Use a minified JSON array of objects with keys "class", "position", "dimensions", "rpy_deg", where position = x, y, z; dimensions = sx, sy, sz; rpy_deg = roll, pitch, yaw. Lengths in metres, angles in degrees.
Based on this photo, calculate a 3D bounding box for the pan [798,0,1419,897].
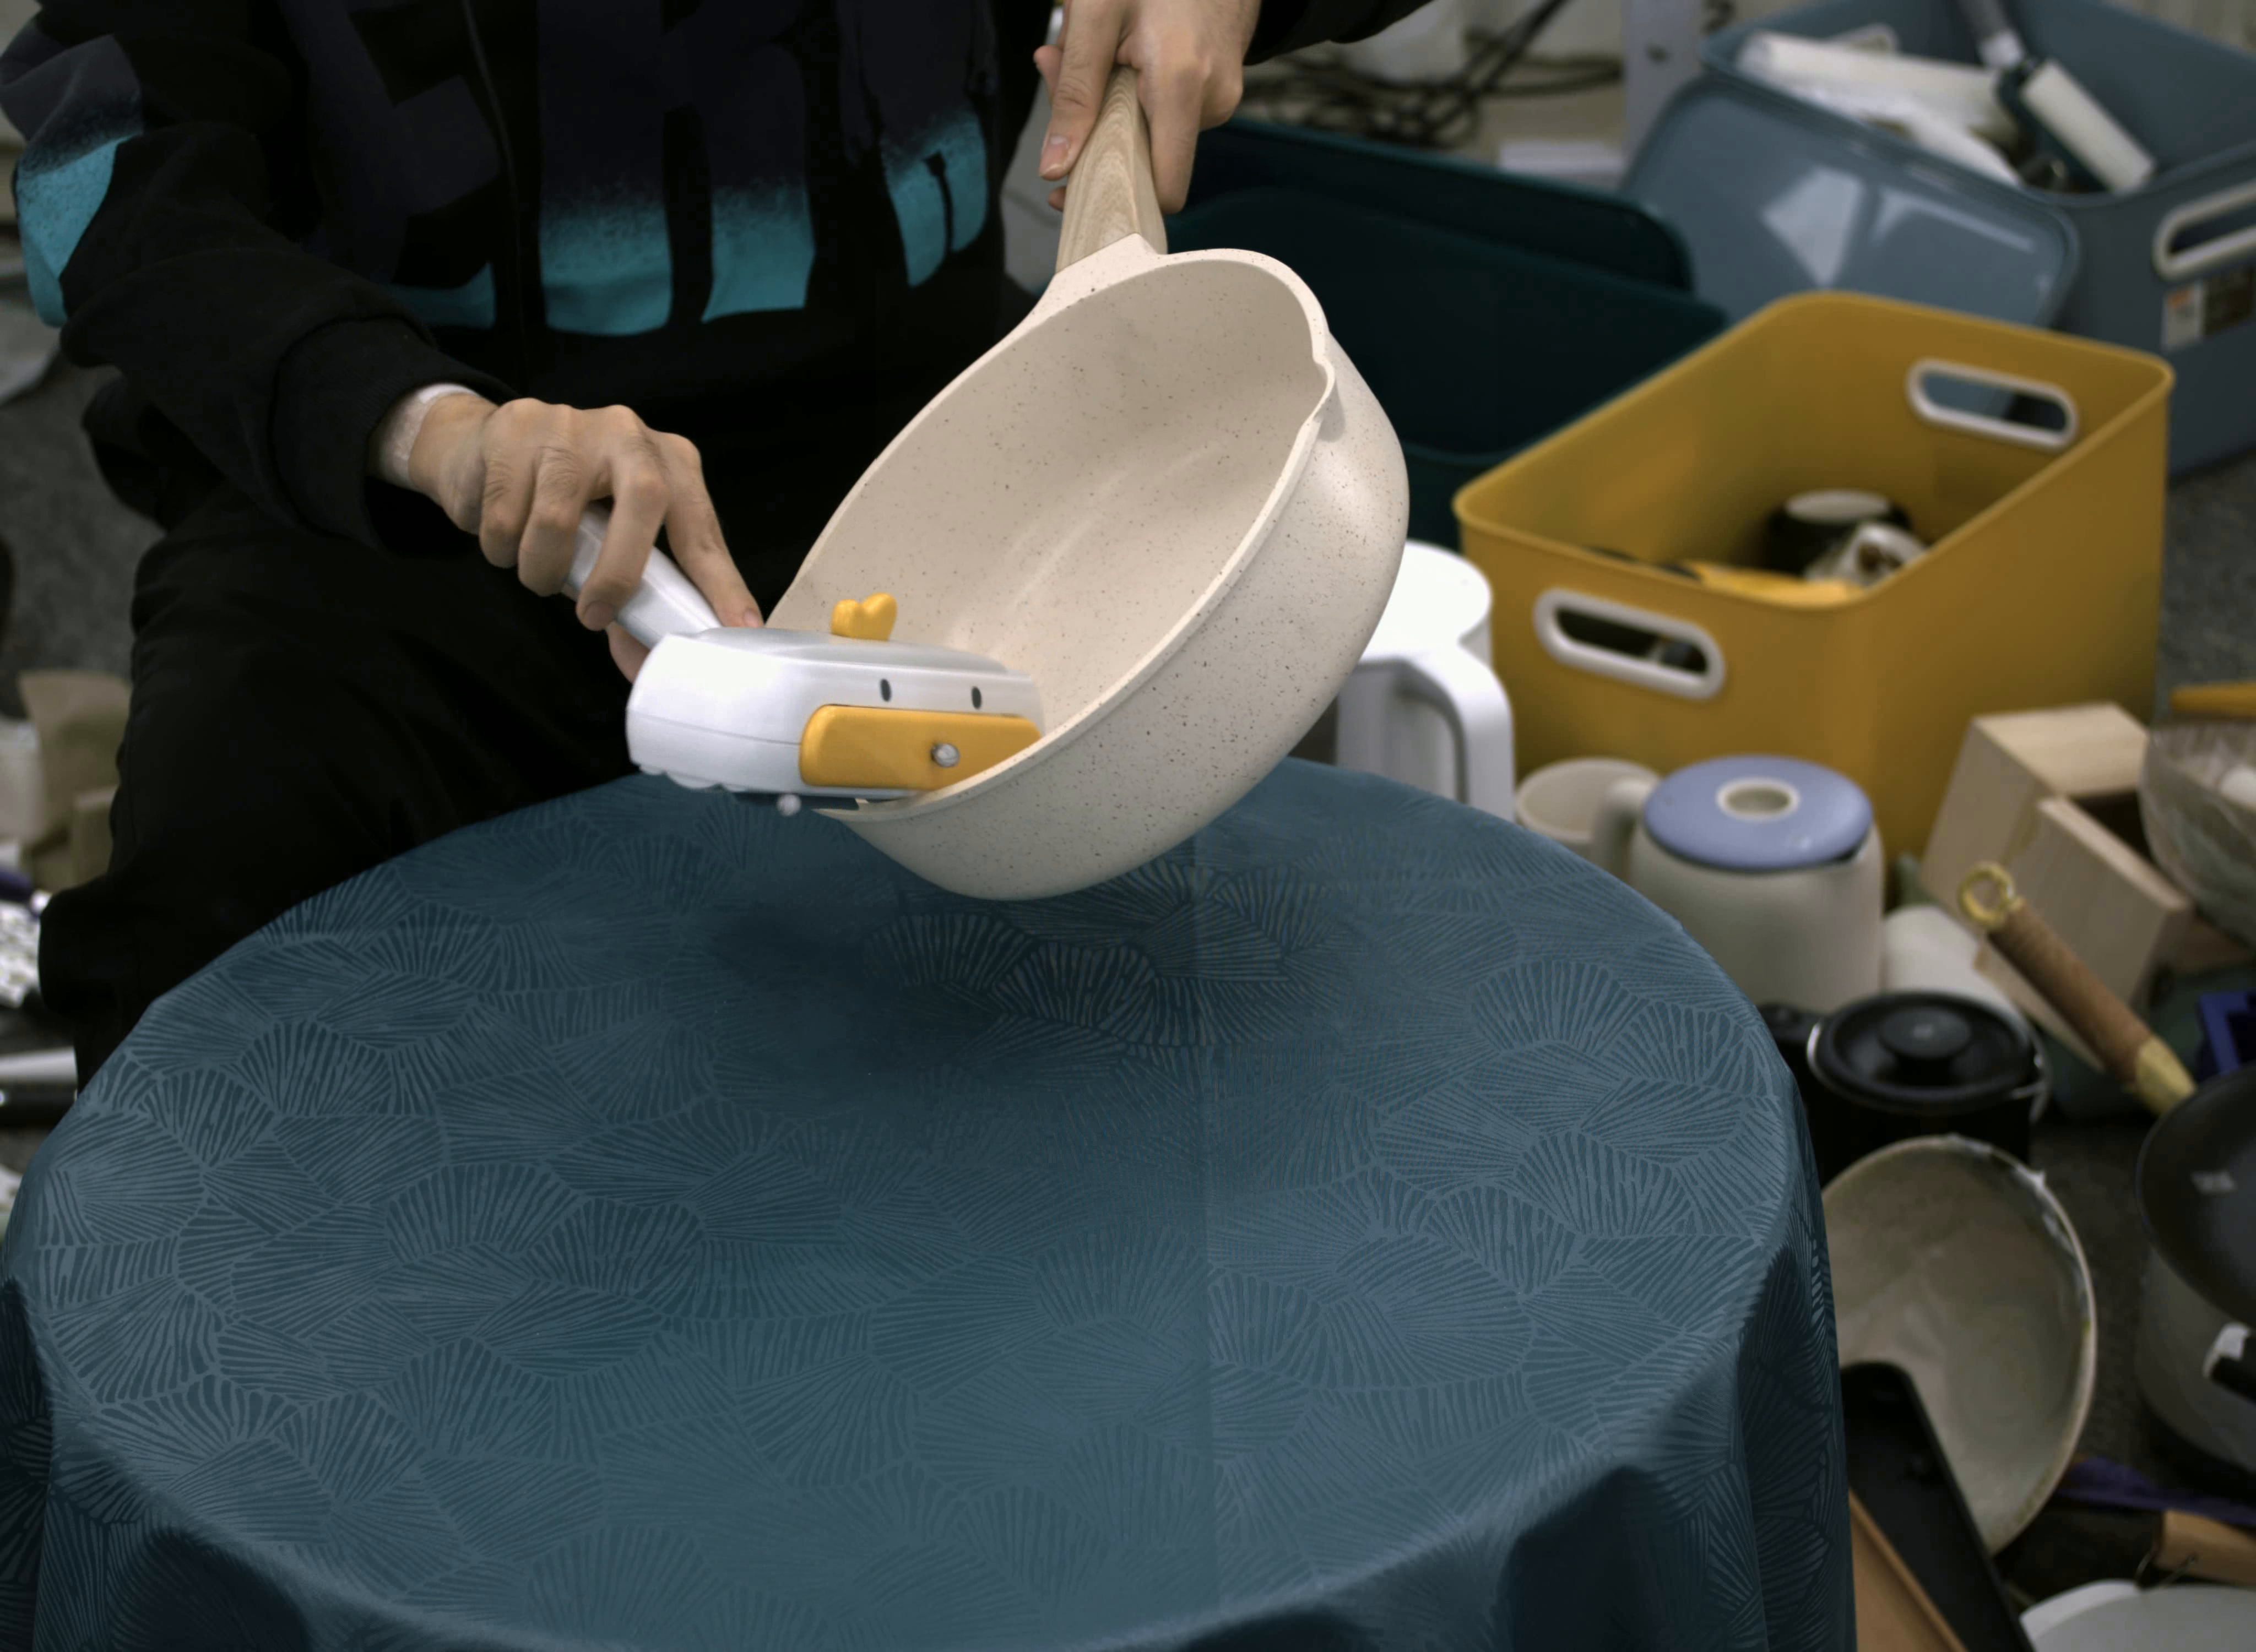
[{"class":"pan","position":[0.003,-0.152,2.024],"dimensions":[0.259,0.101,0.444],"rpy_deg":[-27,35,32]}]

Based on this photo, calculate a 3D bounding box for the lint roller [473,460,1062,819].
[{"class":"lint roller","position":[-0.143,-0.070,1.911],"dimensions":[0.192,0.073,0.195],"rpy_deg":[21,27,29]}]
